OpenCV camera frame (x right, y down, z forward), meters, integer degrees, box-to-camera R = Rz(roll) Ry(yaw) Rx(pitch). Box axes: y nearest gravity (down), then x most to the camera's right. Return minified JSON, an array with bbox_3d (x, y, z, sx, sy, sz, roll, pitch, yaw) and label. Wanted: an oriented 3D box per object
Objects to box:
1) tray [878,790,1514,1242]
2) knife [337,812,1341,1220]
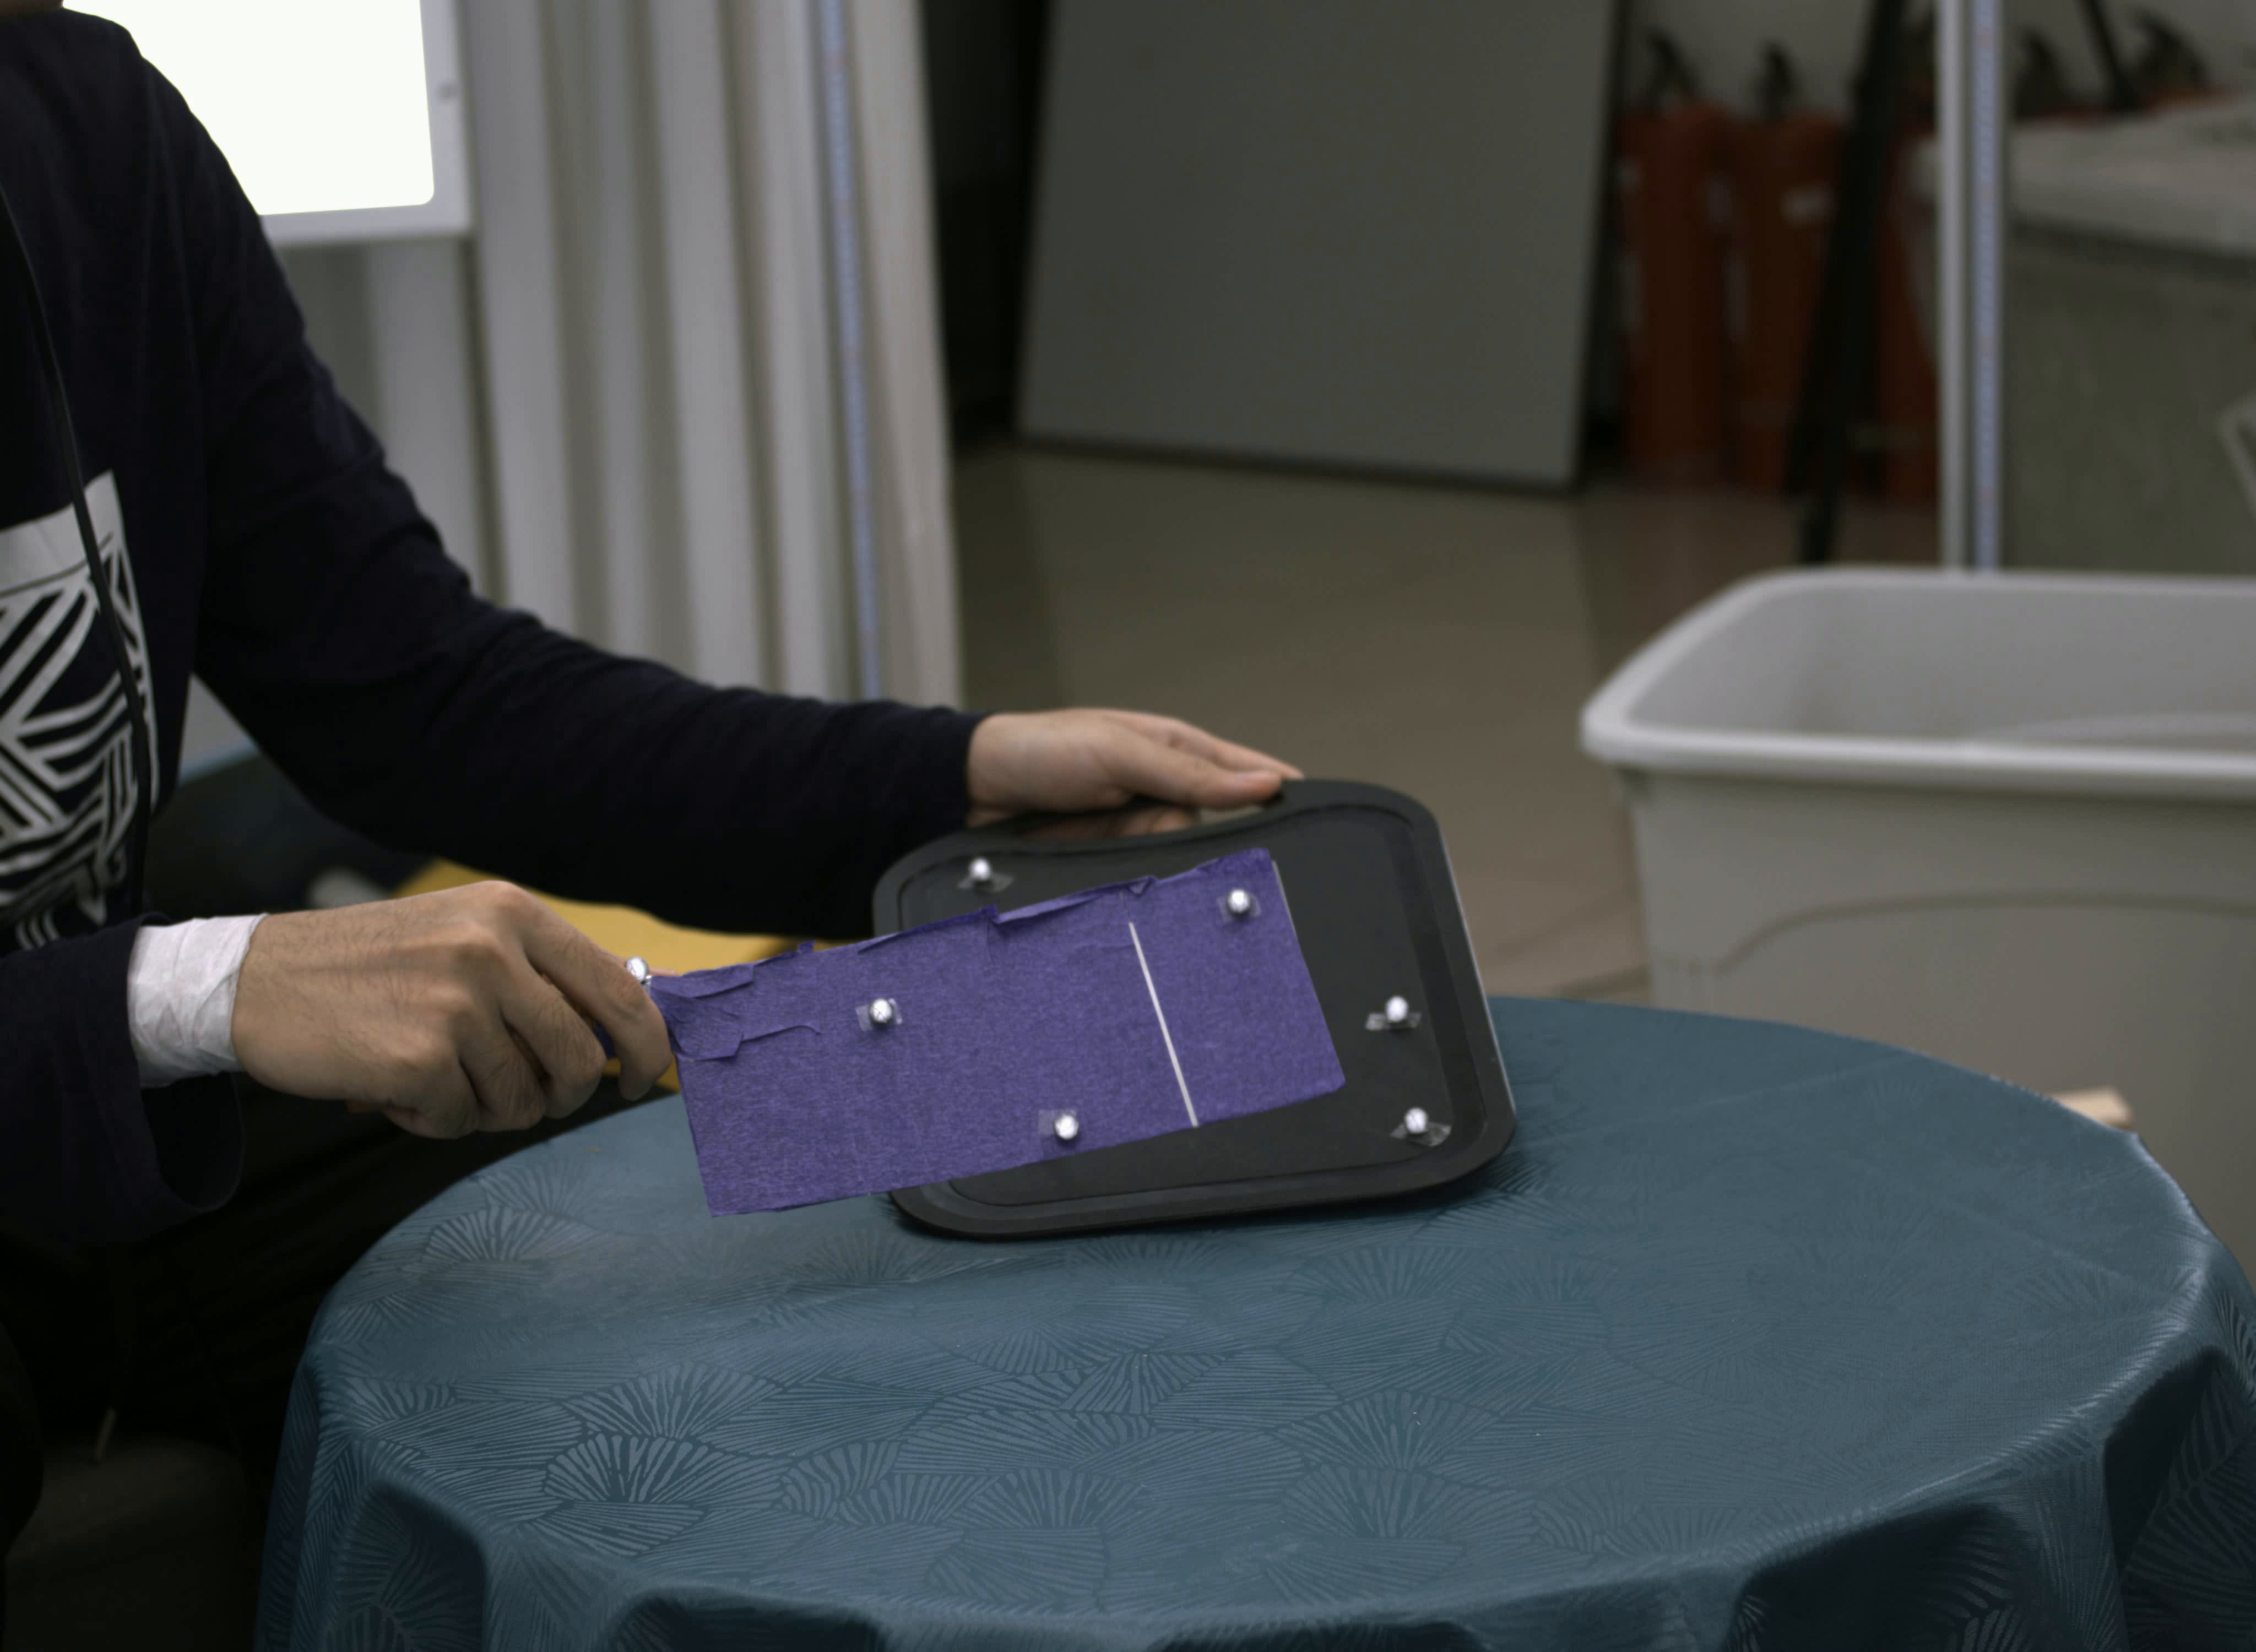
[{"bbox_3d":[0.017,0.057,1.875,0.208,0.010,0.327,-7,25,0],"label":"tray"},{"bbox_3d":[-0.090,0.073,1.705,0.311,0.032,0.105,-14,59,-4],"label":"knife"}]
